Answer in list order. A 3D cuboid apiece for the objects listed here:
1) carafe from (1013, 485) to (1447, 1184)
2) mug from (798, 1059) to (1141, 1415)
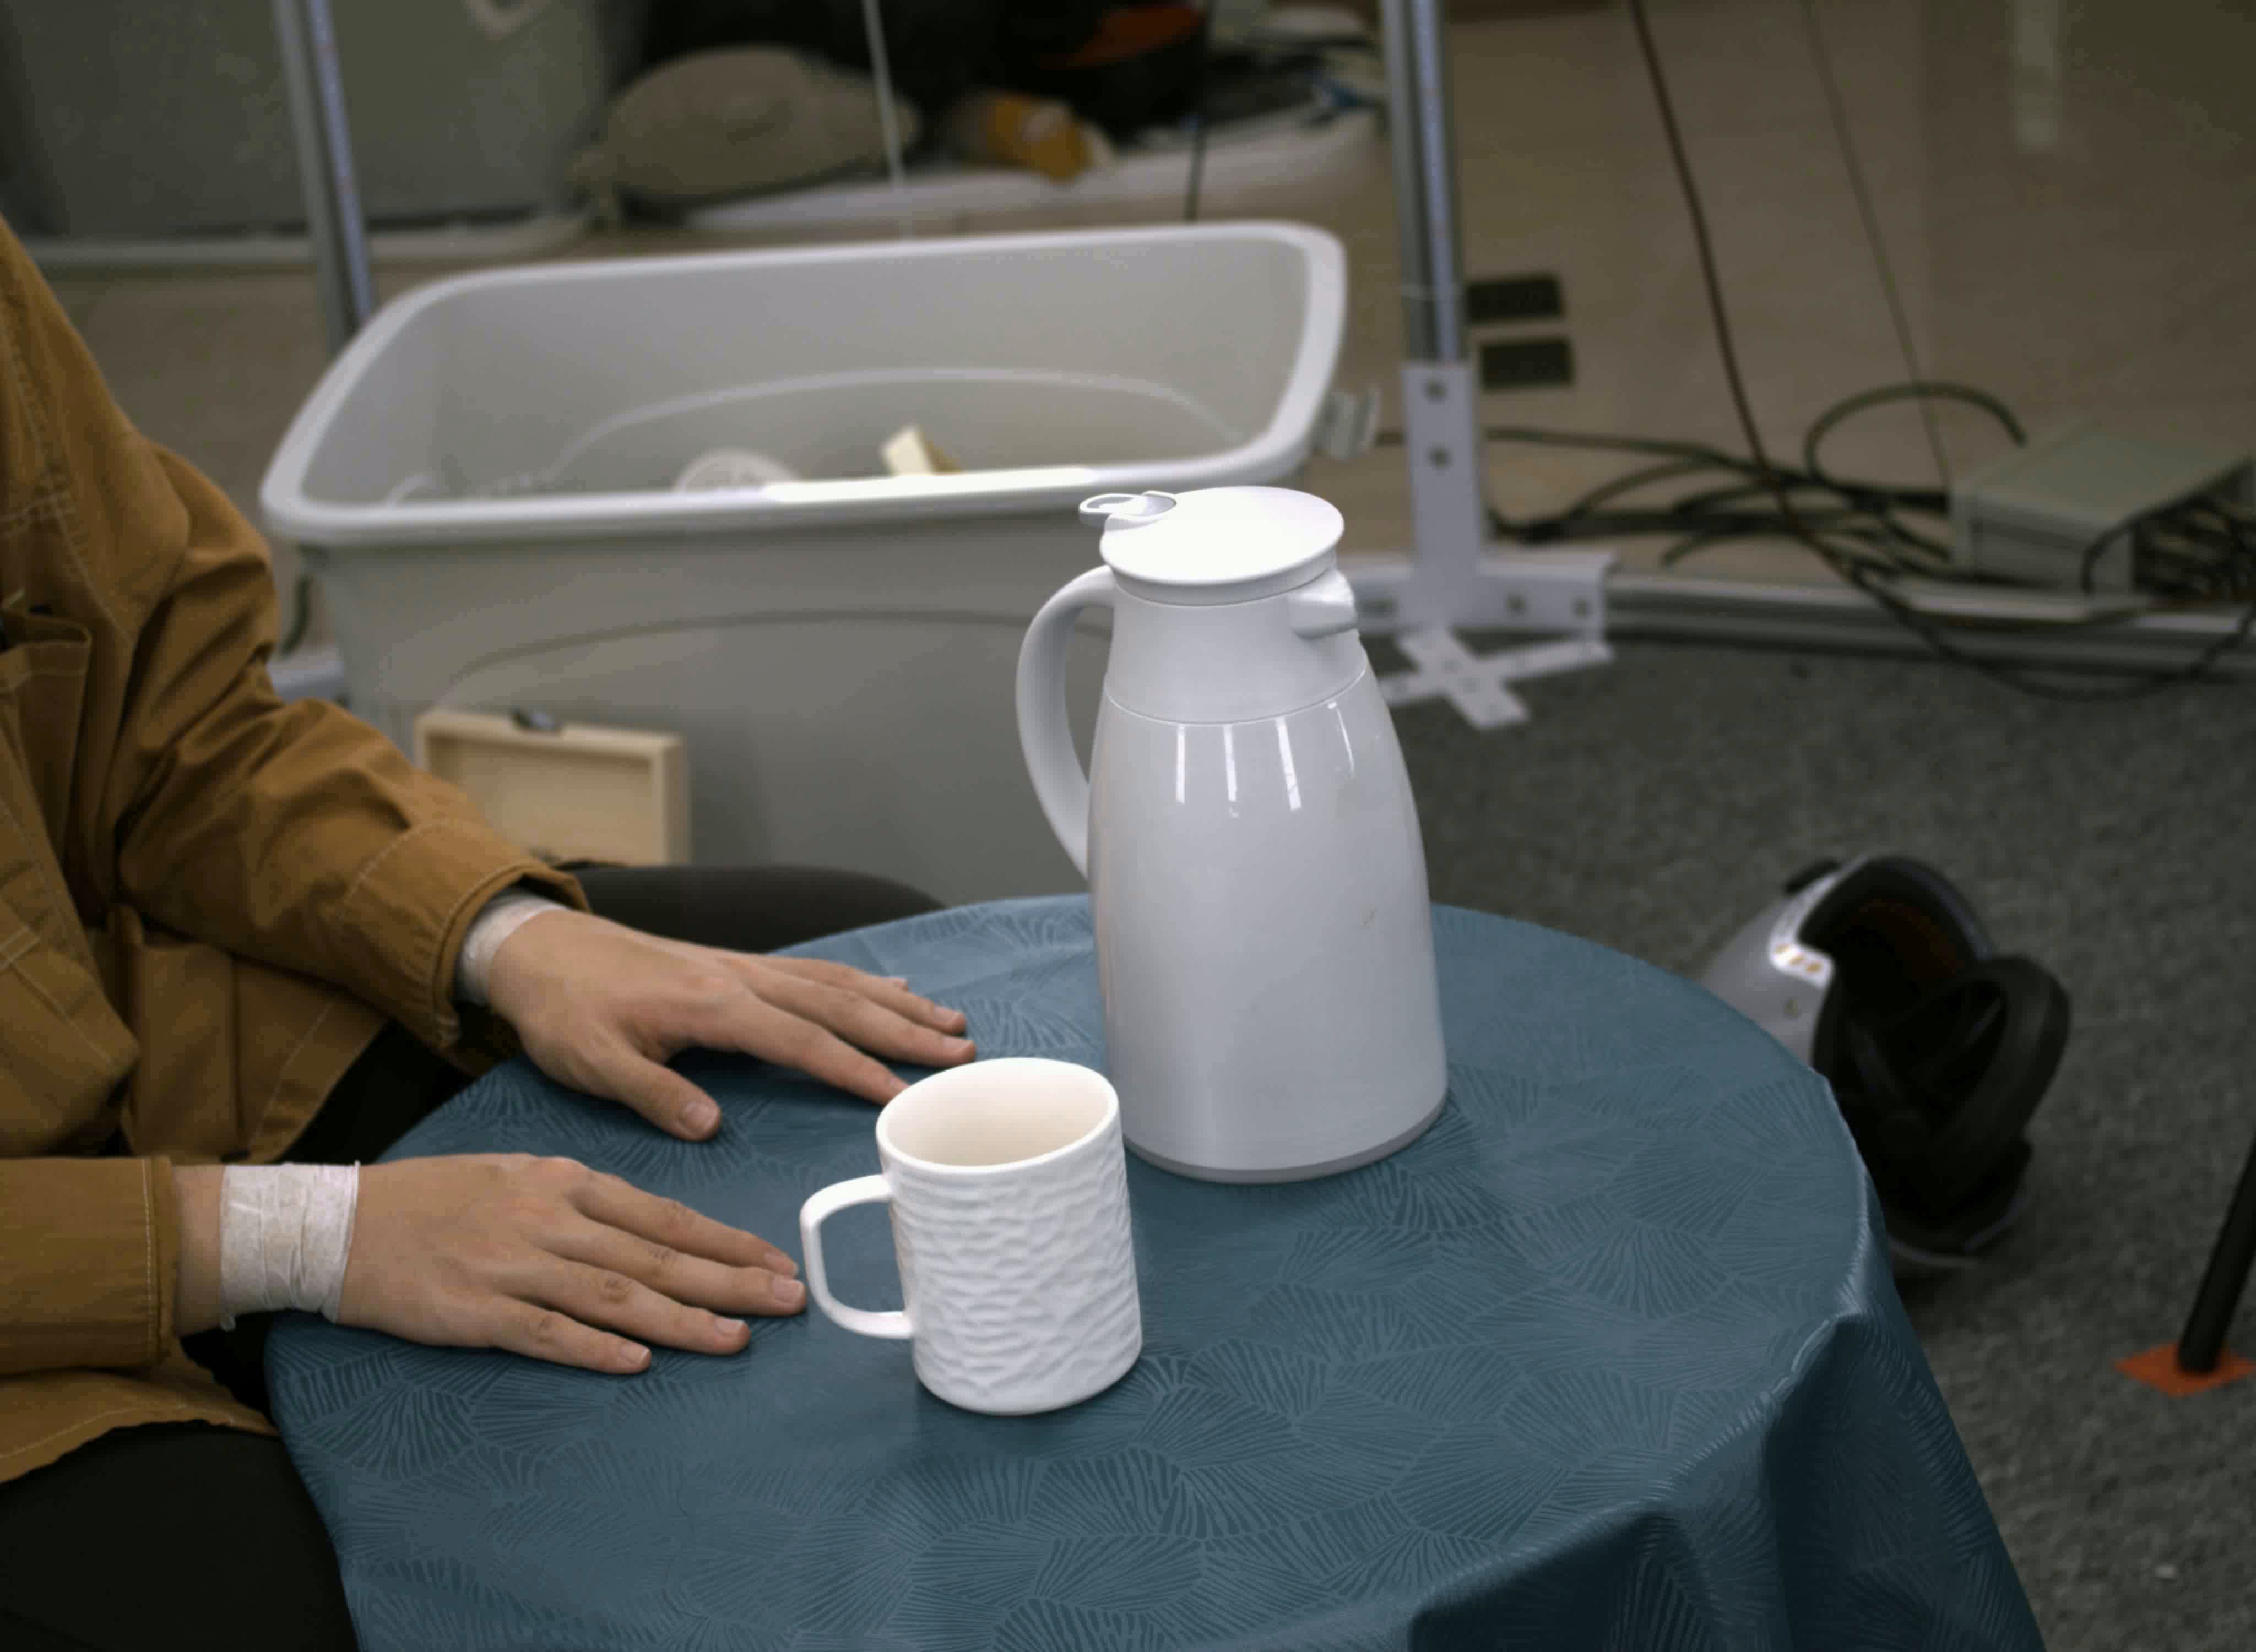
[{"bbox_3d":[0.030,-0.006,2.156,0.167,0.252,0.131,13,32,35],"label":"carafe"},{"bbox_3d":[-0.057,0.150,2.018,0.118,0.103,0.084,-13,25,-11],"label":"mug"}]
